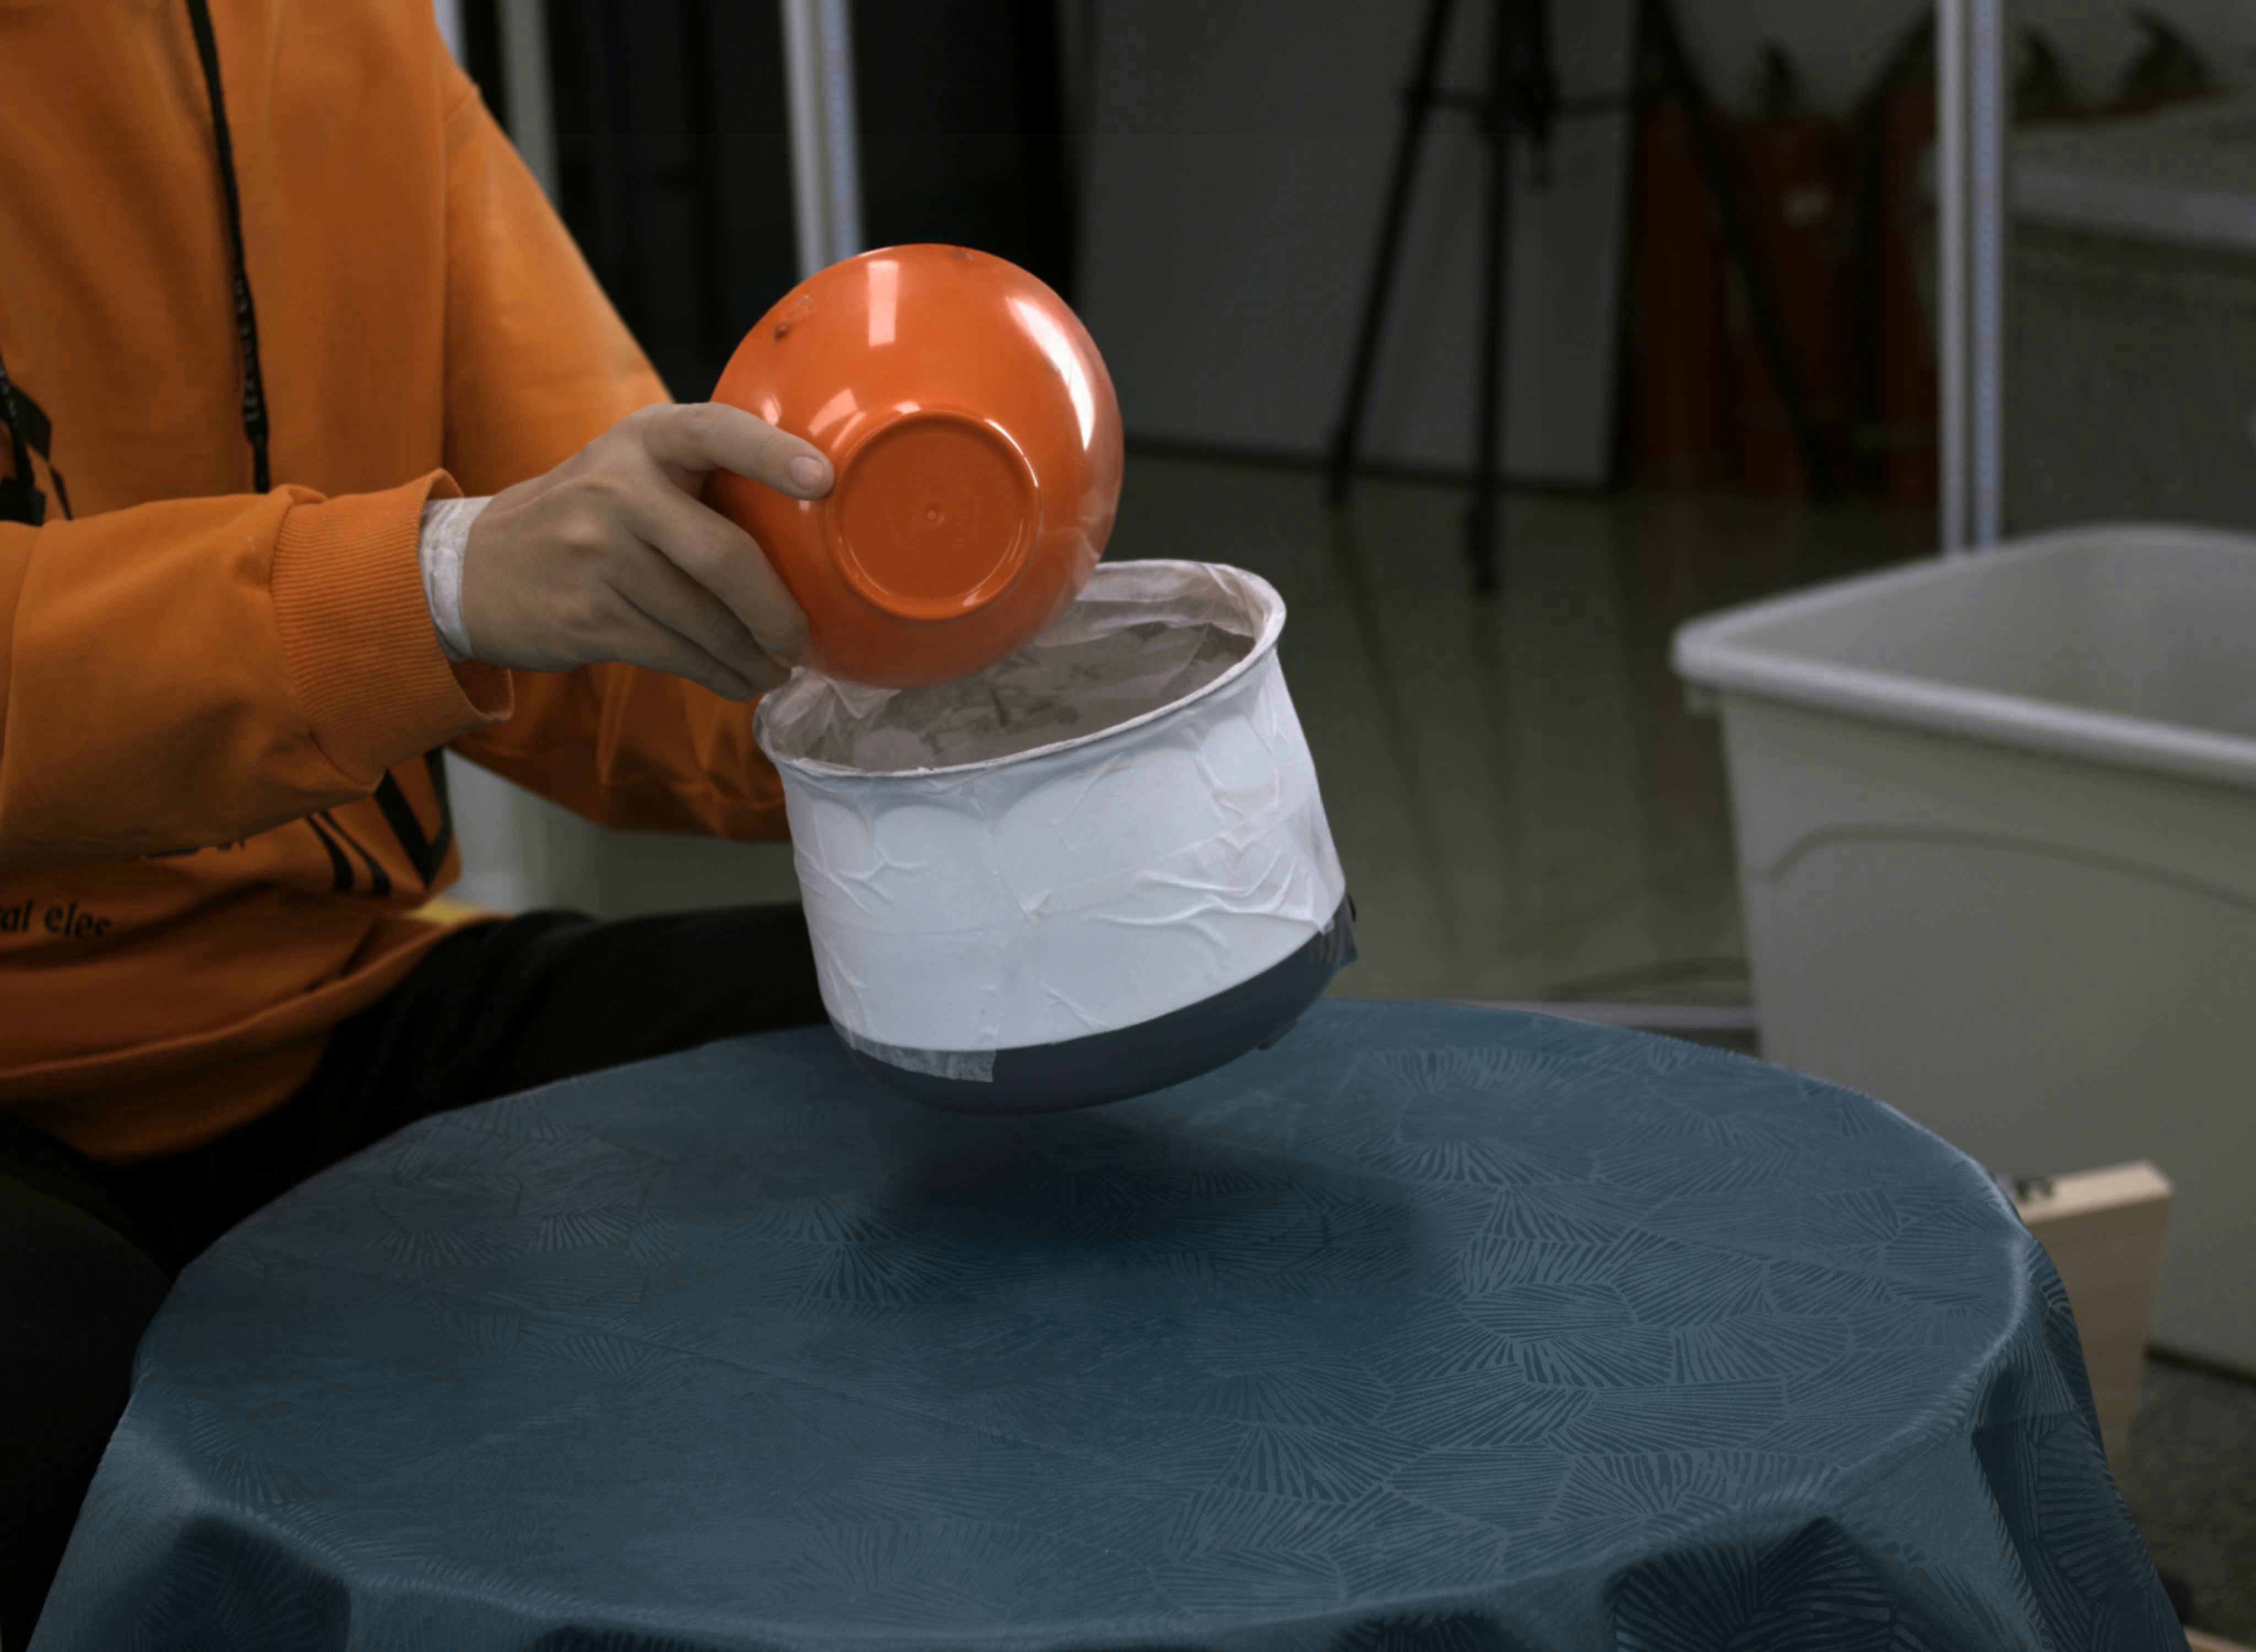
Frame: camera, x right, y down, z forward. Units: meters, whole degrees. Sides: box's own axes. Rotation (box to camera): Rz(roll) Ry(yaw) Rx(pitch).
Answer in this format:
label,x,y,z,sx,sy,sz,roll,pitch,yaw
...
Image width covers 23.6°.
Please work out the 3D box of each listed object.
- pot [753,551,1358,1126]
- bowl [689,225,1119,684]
label,x,y,z,sx,sy,sz,roll,pitch,yaw
pot,-0.029,-0.004,1.774,0.176,0.137,0.235,-17,20,-9
bowl,-0.061,-0.109,1.702,0.145,0.149,0.105,-6,14,-12
